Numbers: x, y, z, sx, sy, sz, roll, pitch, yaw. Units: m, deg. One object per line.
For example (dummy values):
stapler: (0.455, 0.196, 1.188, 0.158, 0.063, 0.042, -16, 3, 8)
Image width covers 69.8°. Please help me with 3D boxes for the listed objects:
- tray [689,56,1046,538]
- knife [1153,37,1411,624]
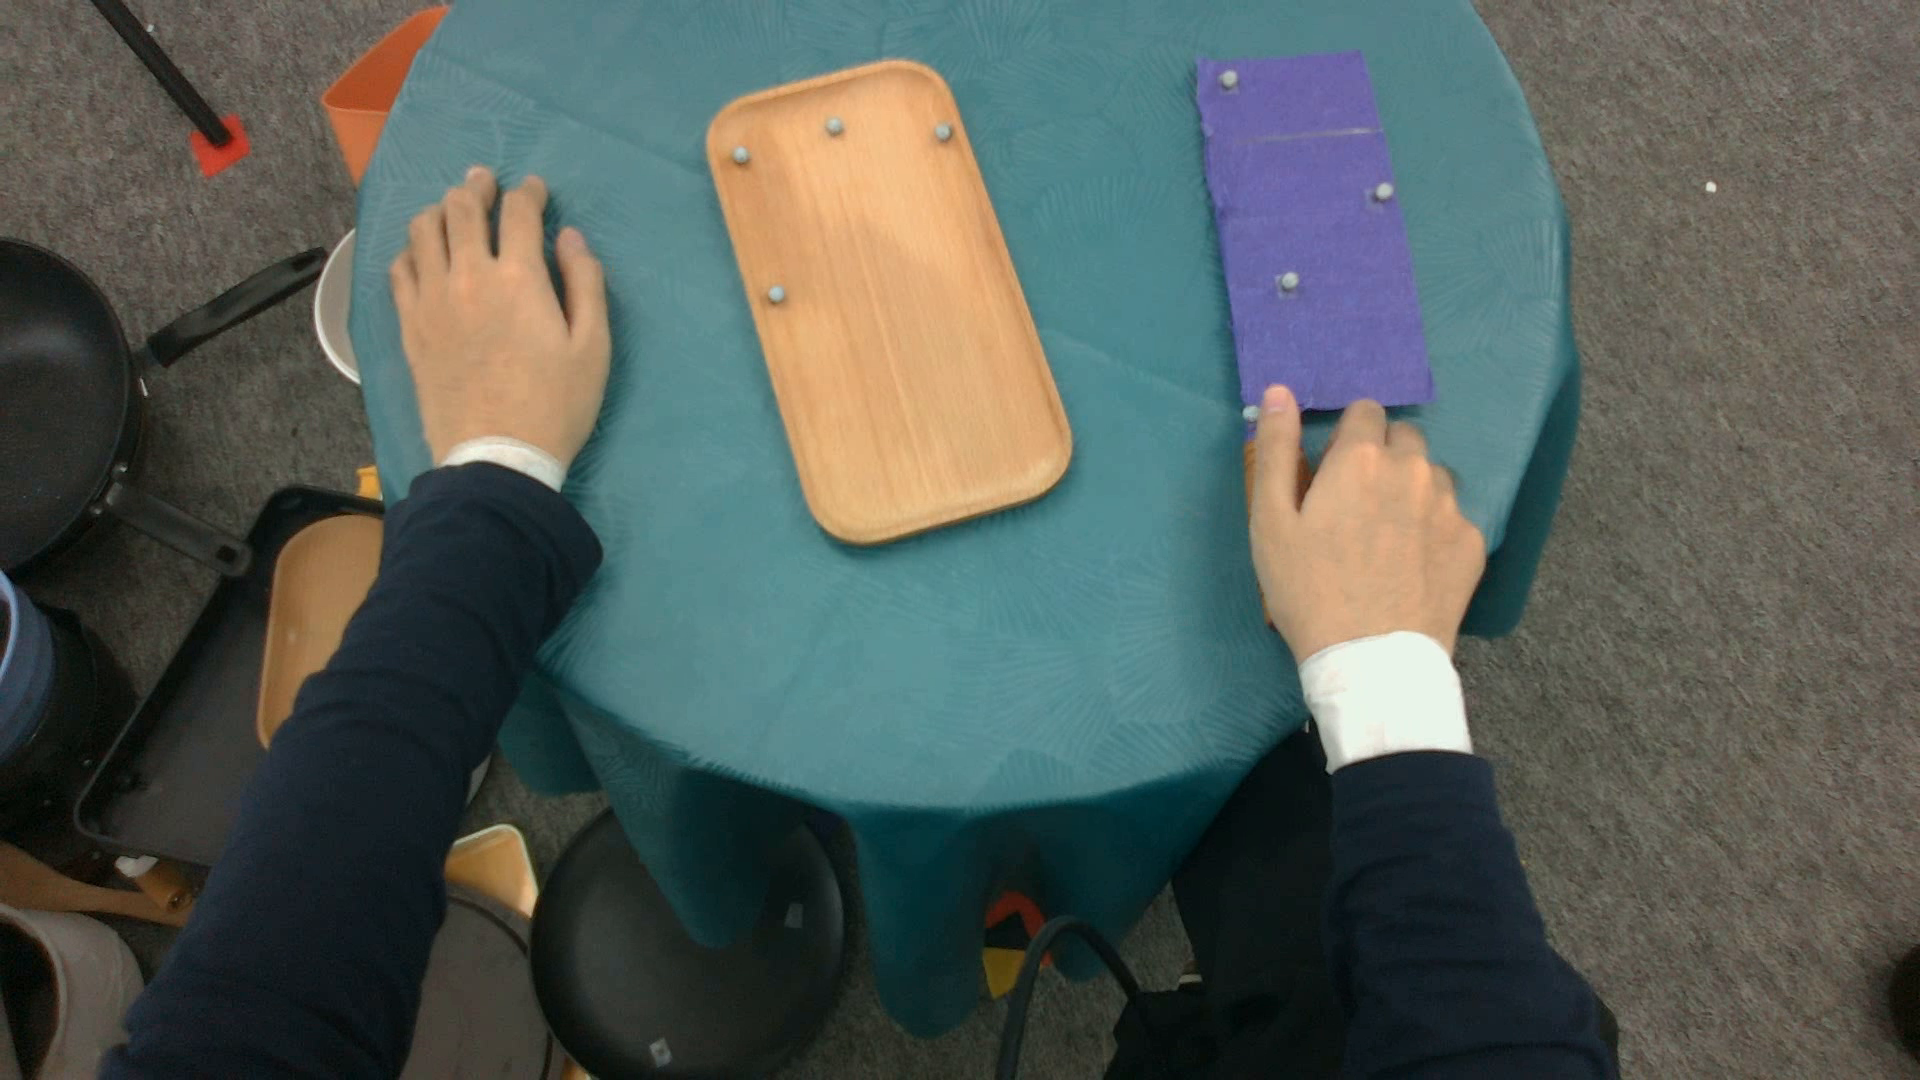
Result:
tray: (-0.048, -0.123, 0.665, 0.130, 0.023, 0.251, -14, 71, -3)
knife: (0.163, -0.116, 0.658, 0.104, 0.032, 0.316, -4, 69, -1)
